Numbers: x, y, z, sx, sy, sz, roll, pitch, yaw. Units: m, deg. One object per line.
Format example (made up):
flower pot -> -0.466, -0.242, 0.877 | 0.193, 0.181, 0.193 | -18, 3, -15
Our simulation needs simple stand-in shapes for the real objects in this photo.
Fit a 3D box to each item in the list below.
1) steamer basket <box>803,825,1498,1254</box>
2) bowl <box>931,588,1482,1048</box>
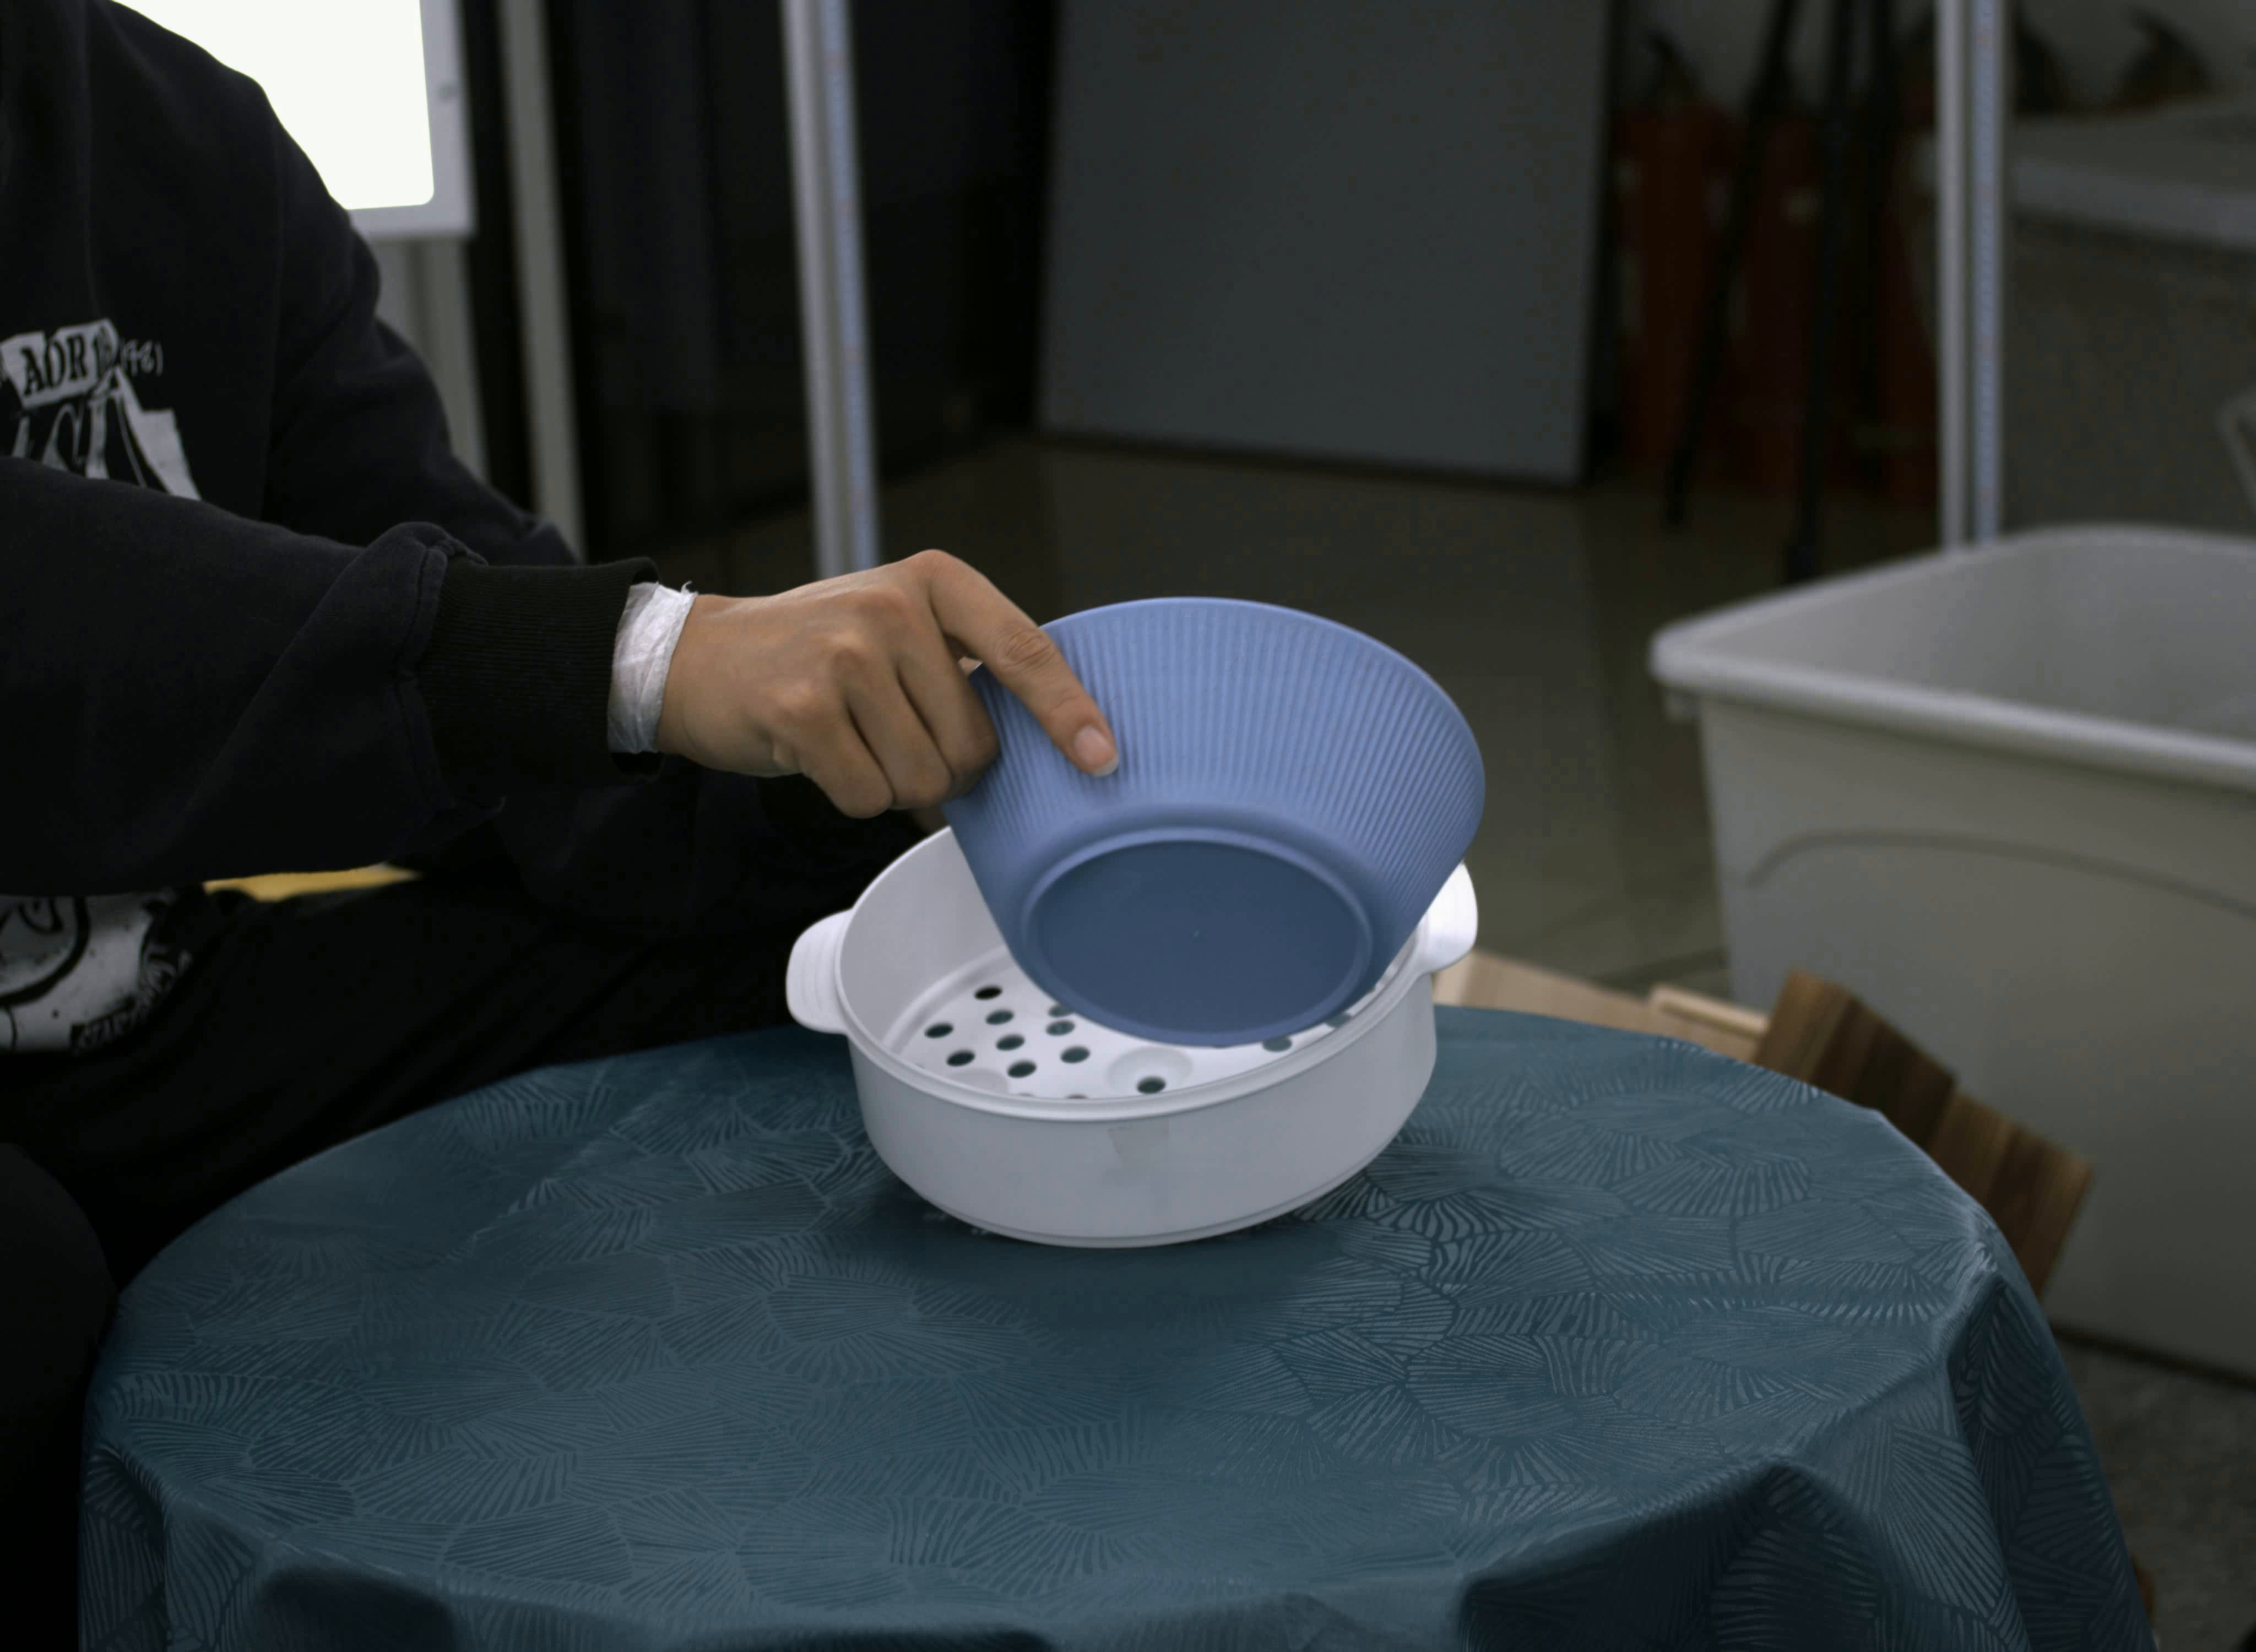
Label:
steamer basket -> 0.009, 0.060, 1.777 | 0.228, 0.069, 0.203 | -5, 31, 3
bowl -> 0.023, 0.008, 1.670 | 0.174, 0.176, 0.071 | -1, 50, 8
